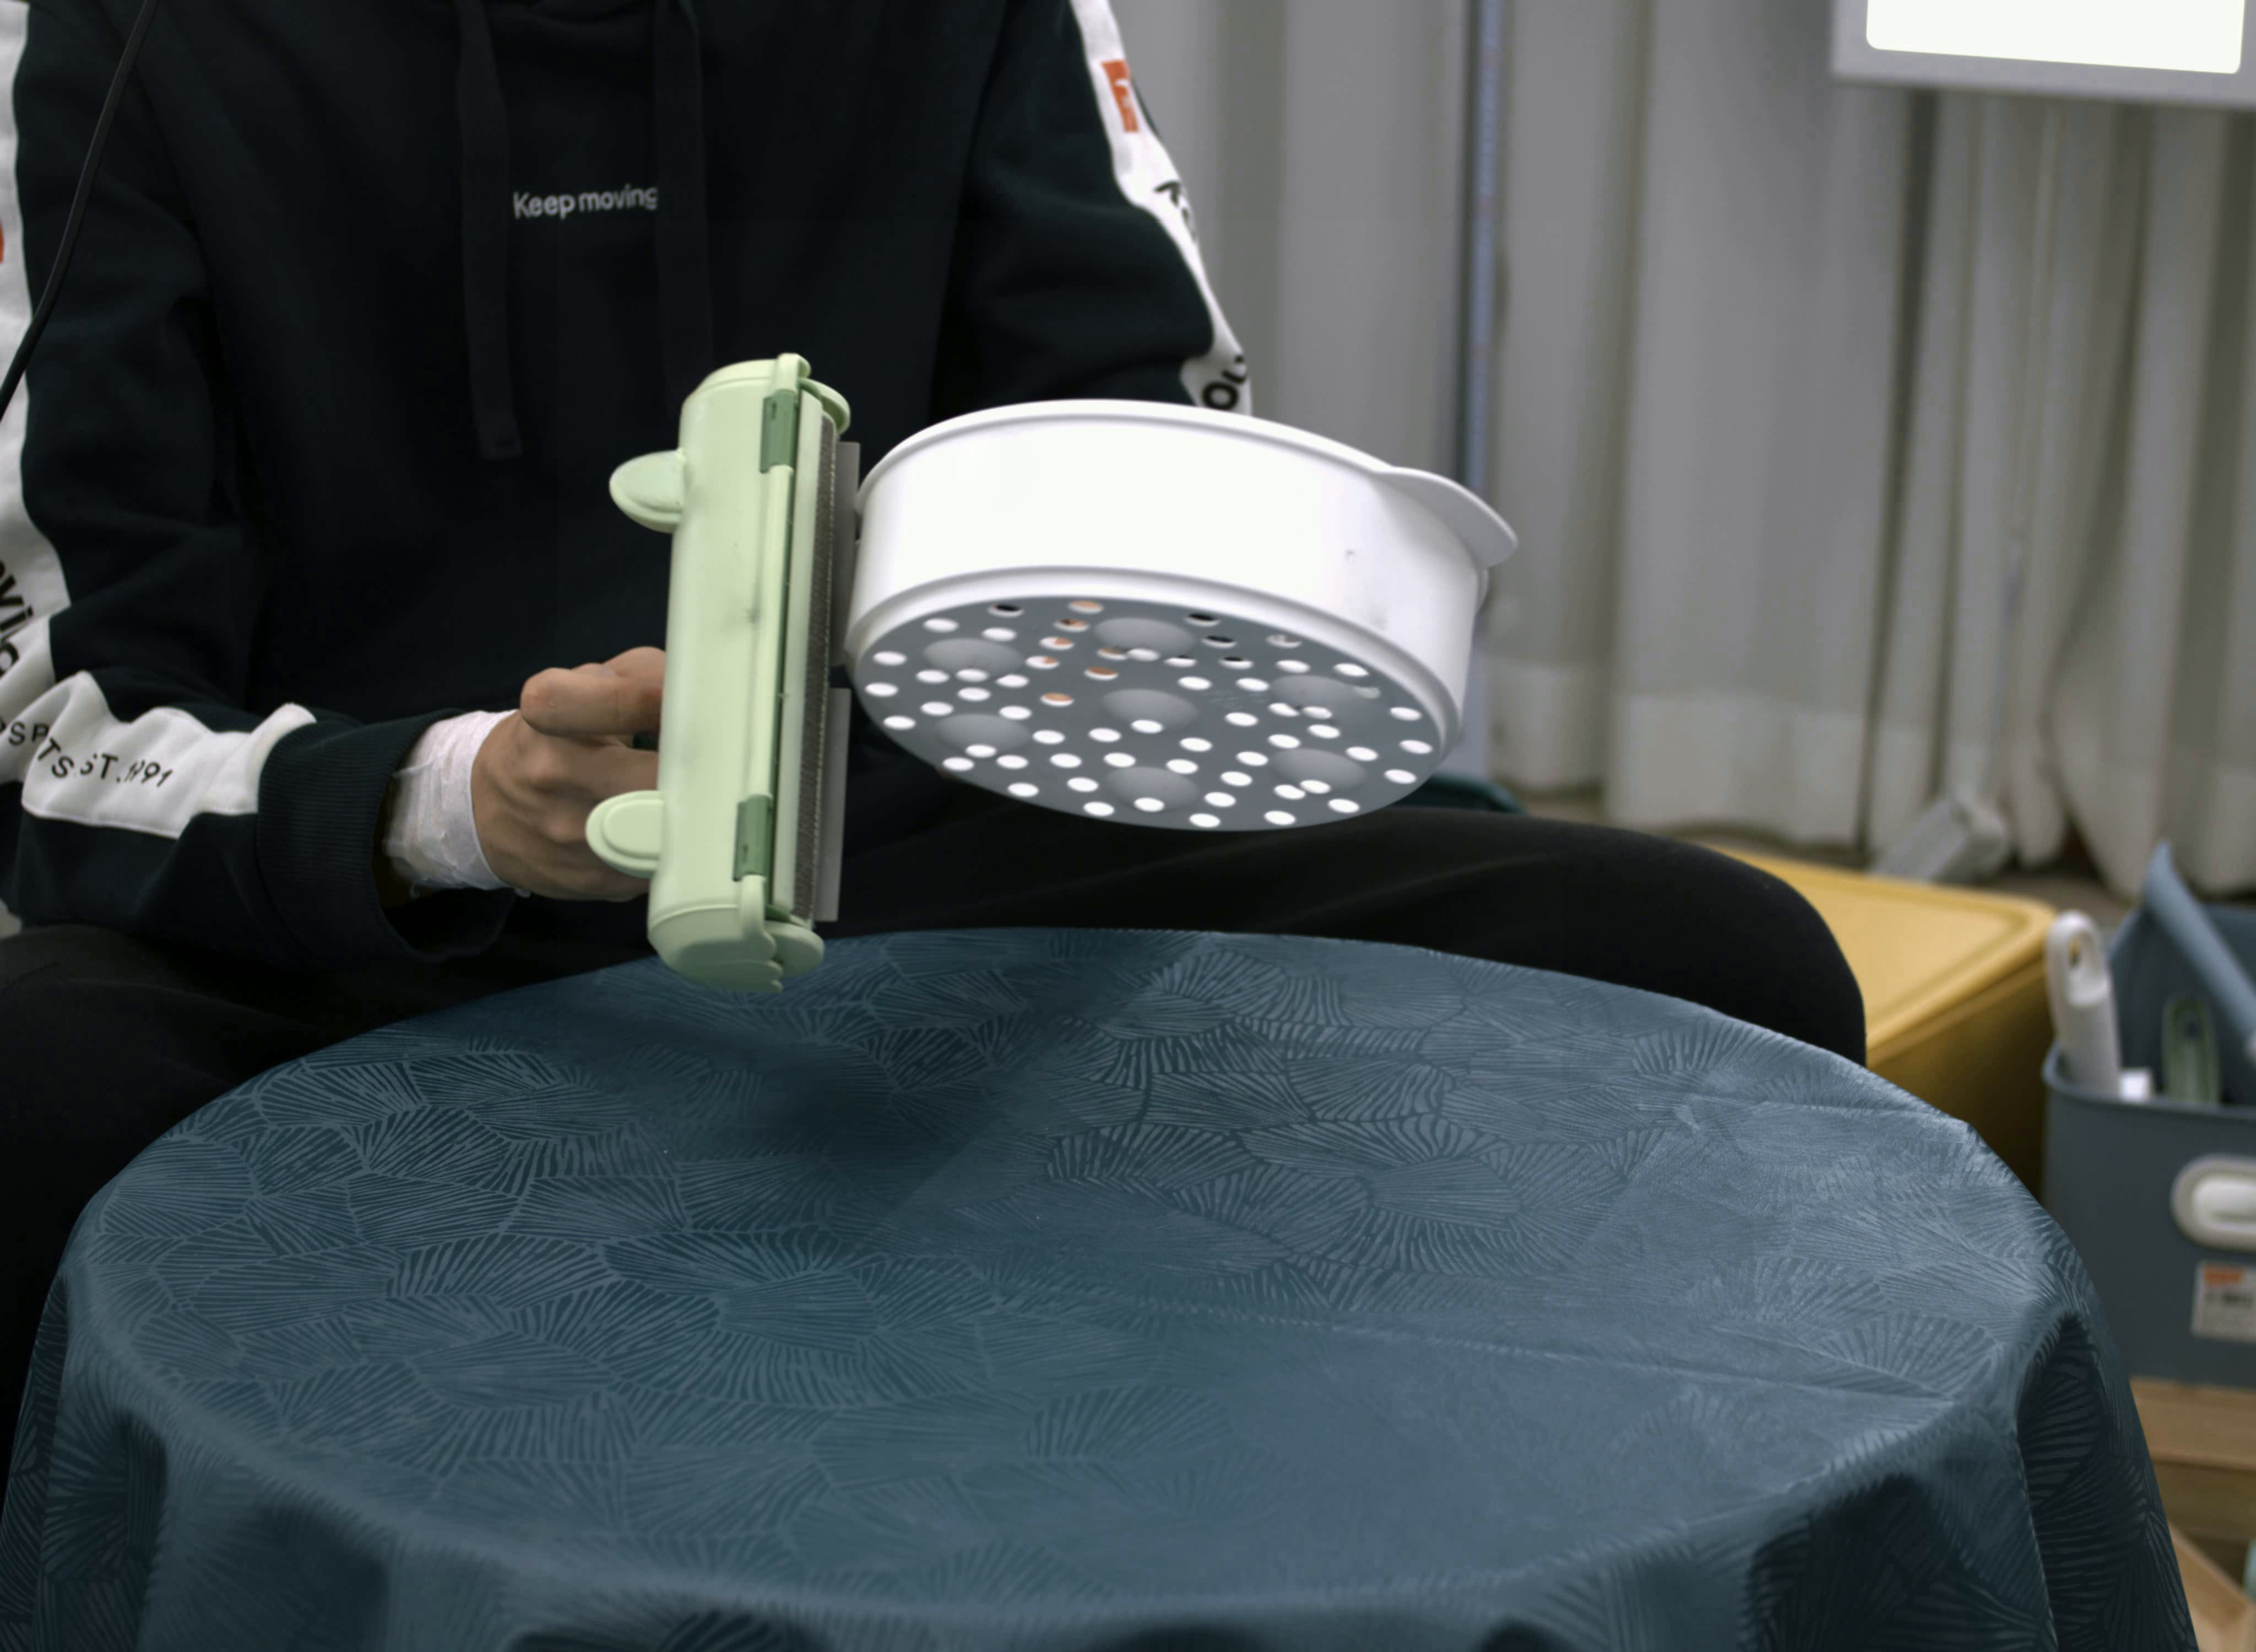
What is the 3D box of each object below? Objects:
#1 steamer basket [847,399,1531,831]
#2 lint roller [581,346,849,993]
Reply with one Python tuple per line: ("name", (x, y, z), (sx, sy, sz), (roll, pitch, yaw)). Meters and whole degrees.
("steamer basket", (0.013, -0.060, 1.639), (0.228, 0.069, 0.204), (-4, -23, 31))
("lint roller", (-0.151, -0.033, 1.666), (0.083, 0.198, 0.182), (12, -23, -27))
